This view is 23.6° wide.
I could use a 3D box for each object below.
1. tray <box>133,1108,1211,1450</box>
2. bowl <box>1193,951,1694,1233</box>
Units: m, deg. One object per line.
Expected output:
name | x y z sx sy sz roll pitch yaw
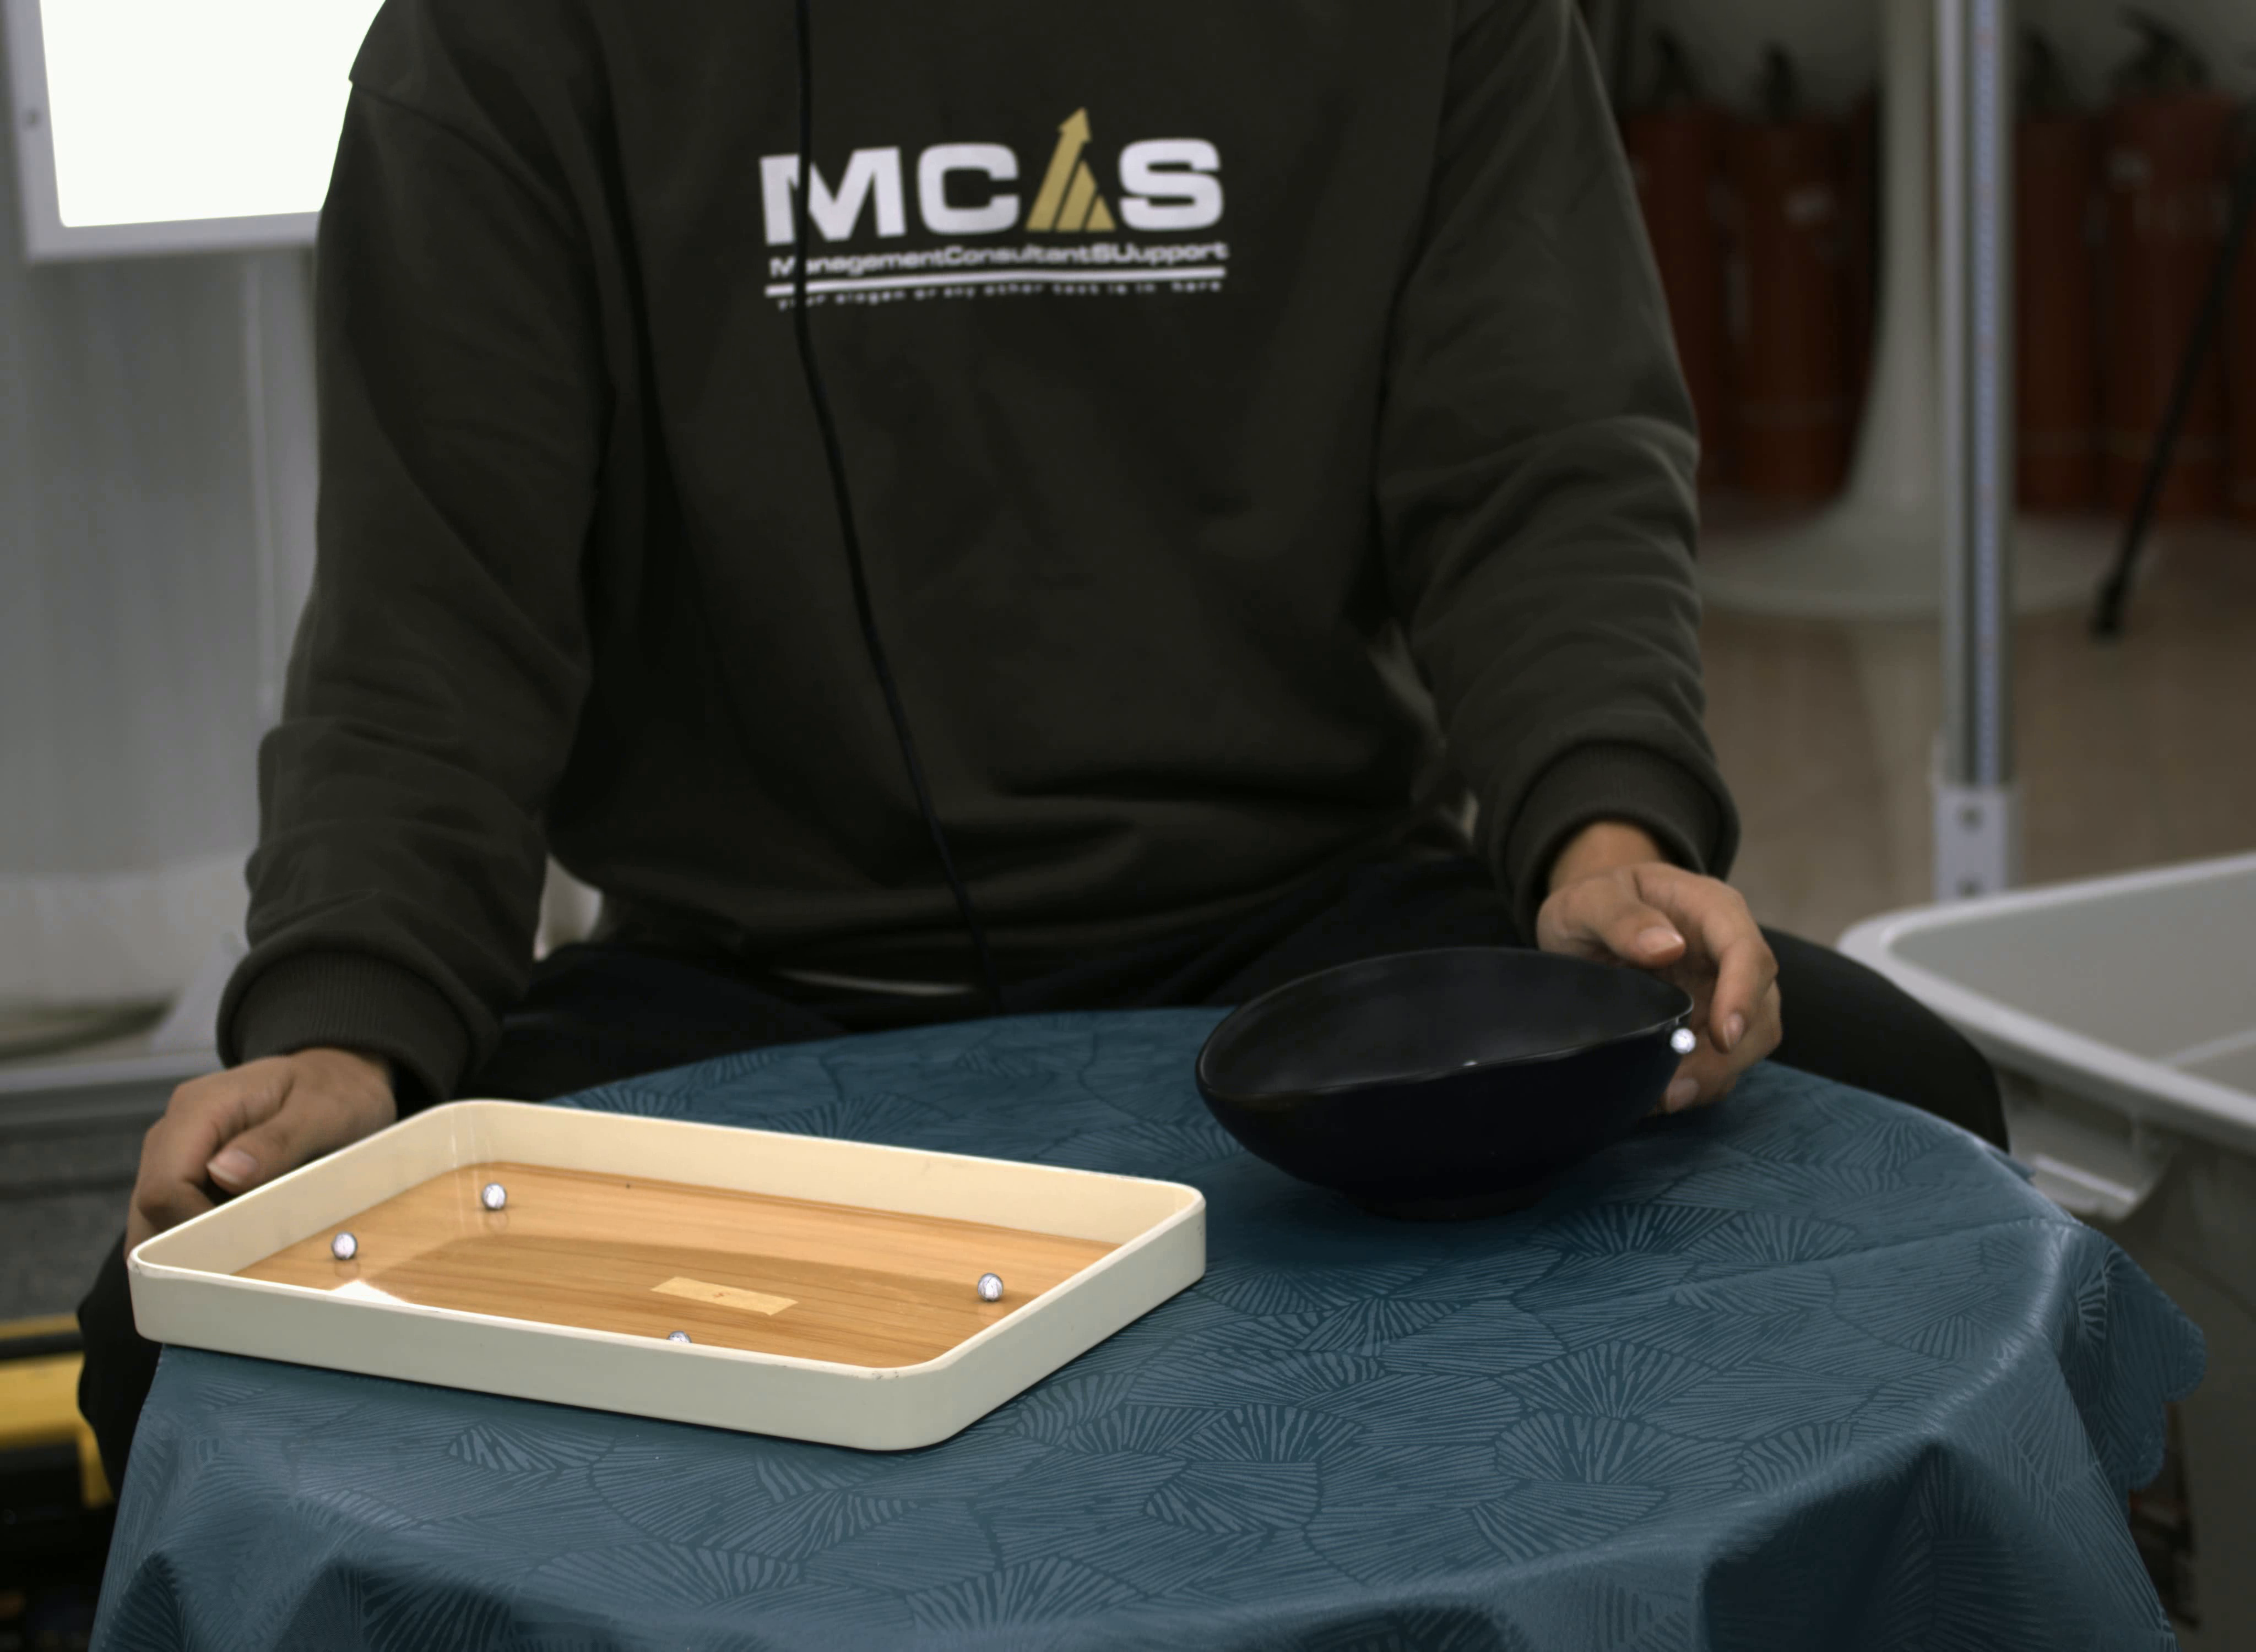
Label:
tray | -0.141 0.138 1.688 0.301 0.028 0.188 4 15 31
bowl | 0.105 0.091 1.745 0.167 0.067 0.138 -10 13 -20
